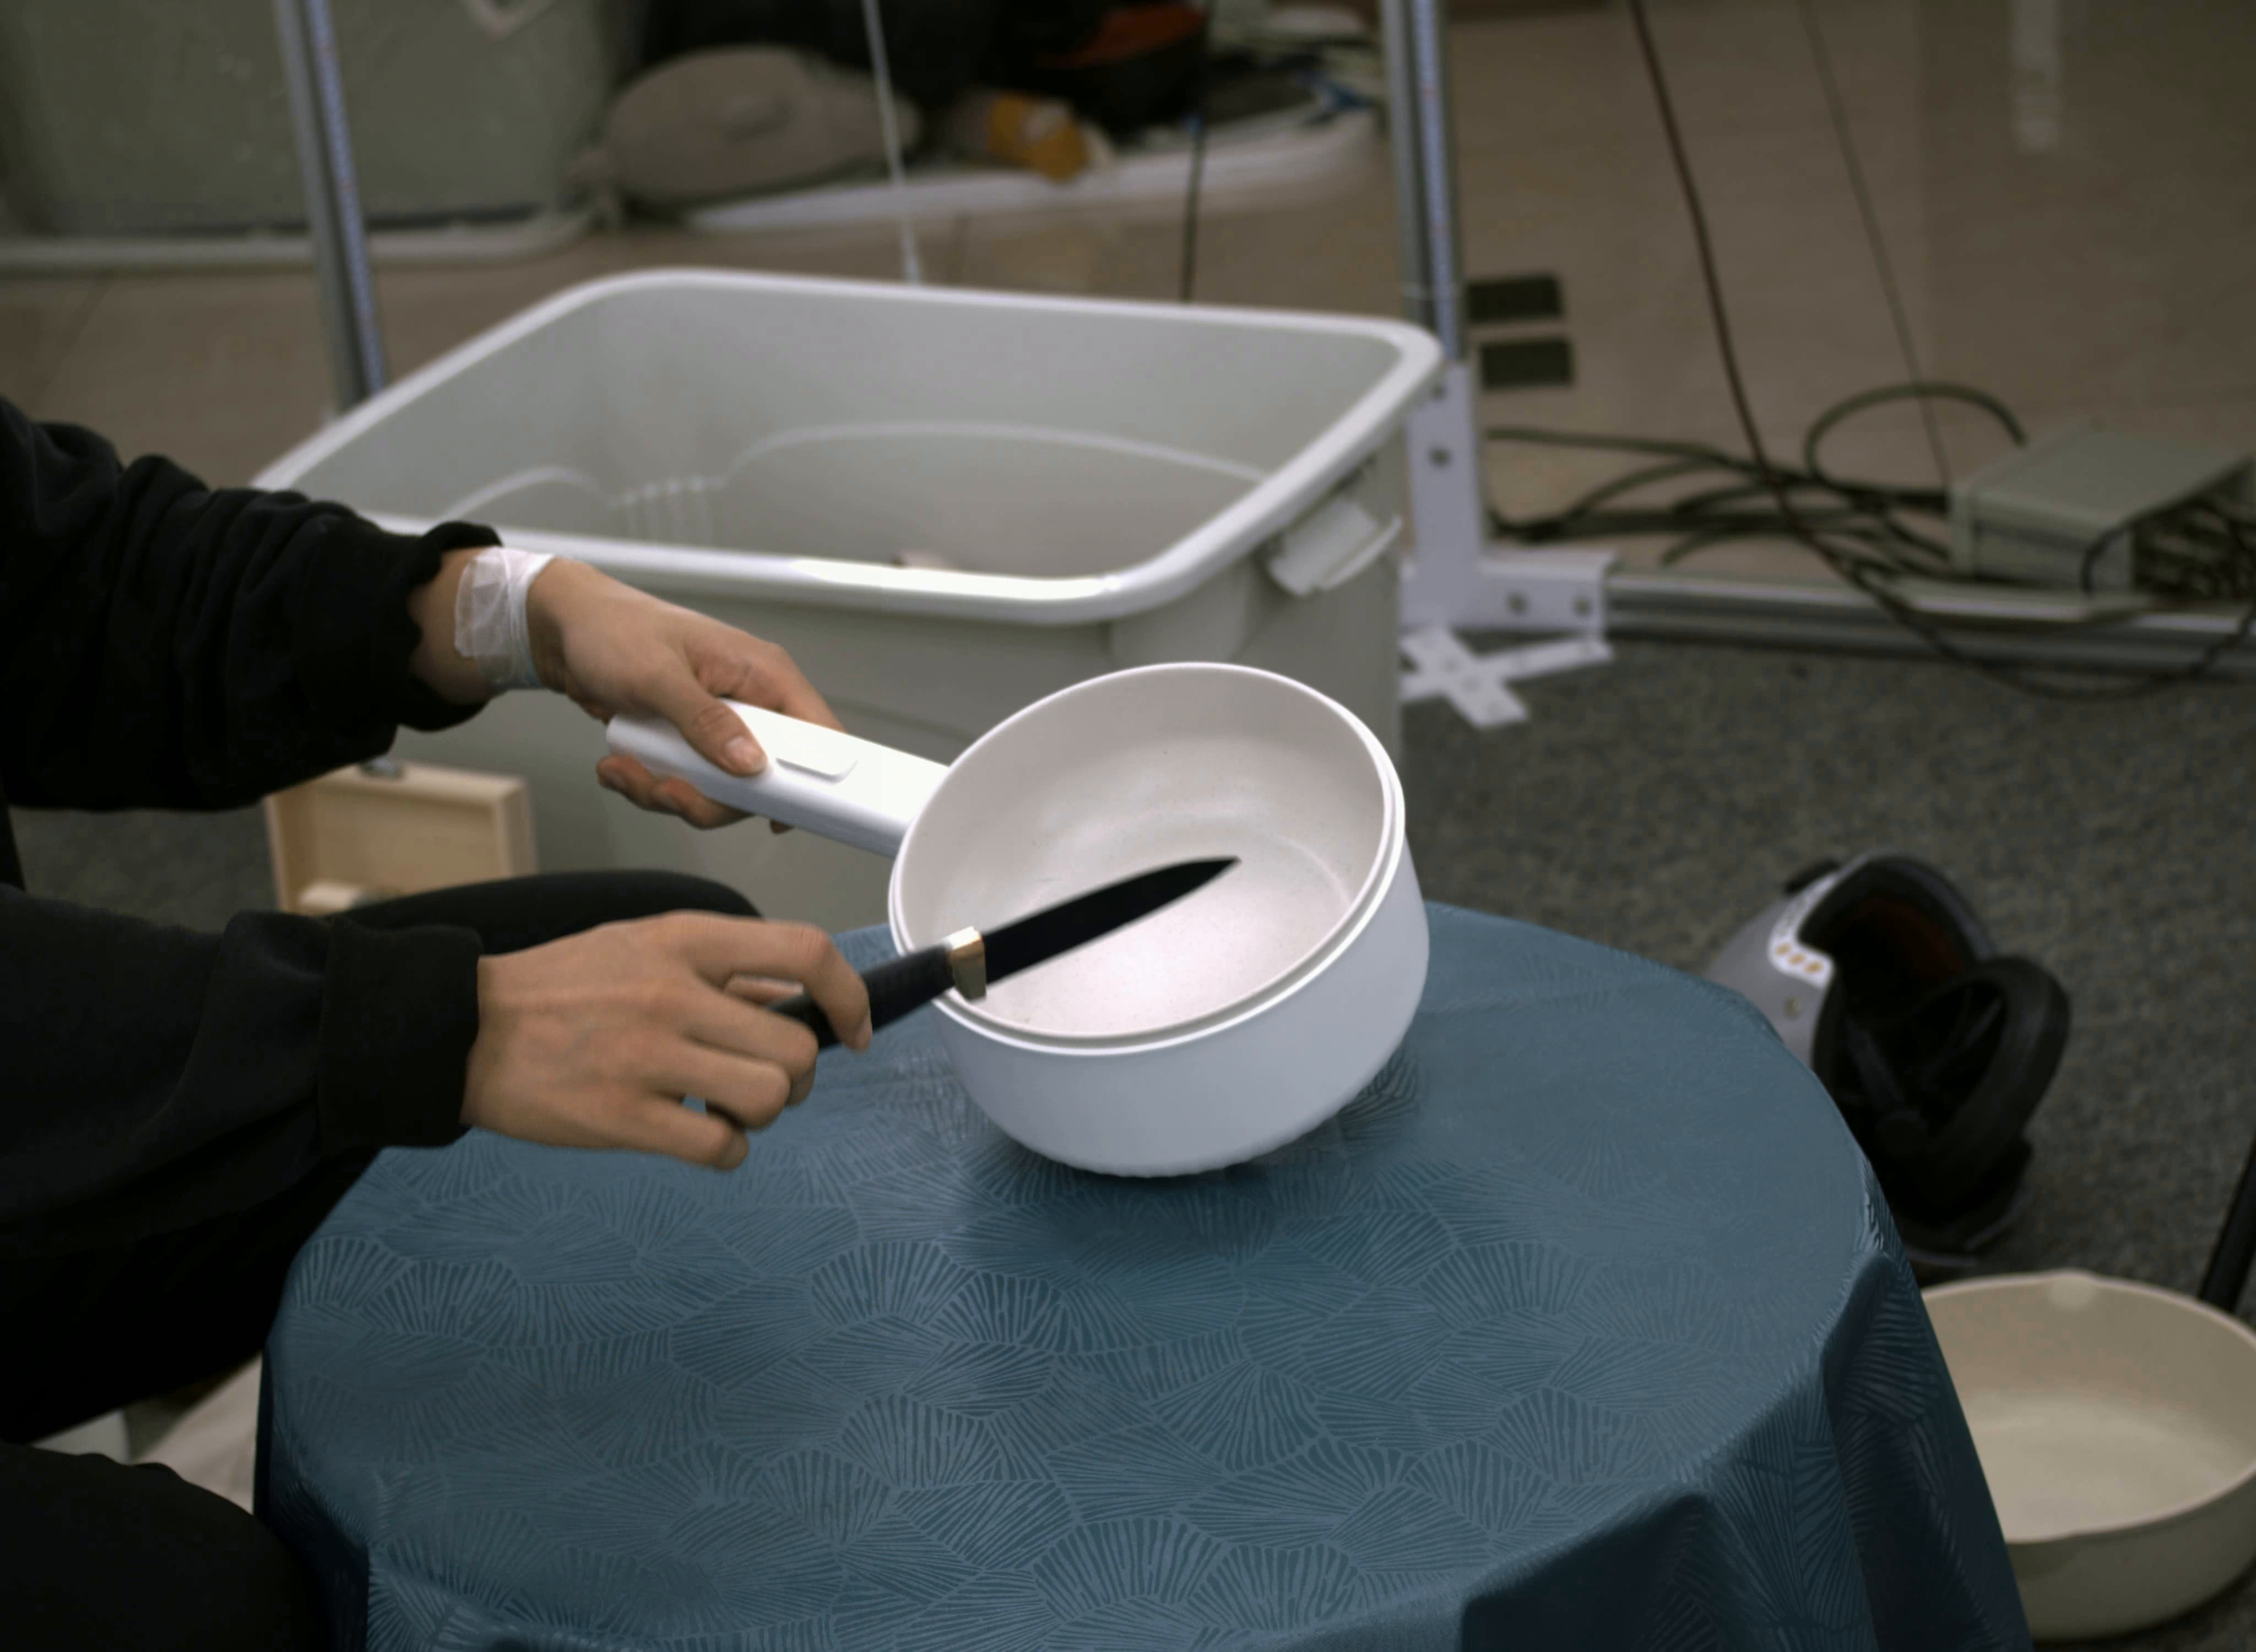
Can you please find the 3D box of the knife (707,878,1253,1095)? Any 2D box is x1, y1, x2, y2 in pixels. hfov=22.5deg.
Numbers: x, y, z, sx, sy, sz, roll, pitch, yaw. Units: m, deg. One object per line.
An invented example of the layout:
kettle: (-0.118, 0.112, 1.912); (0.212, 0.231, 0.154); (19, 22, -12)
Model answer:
knife: (-0.048, 0.049, 1.965); (0.224, 0.026, 0.017); (-21, 22, -29)

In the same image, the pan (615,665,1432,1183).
pan: (-0.045, 0.025, 2.224); (0.352, 0.104, 0.199); (16, 56, 31)
